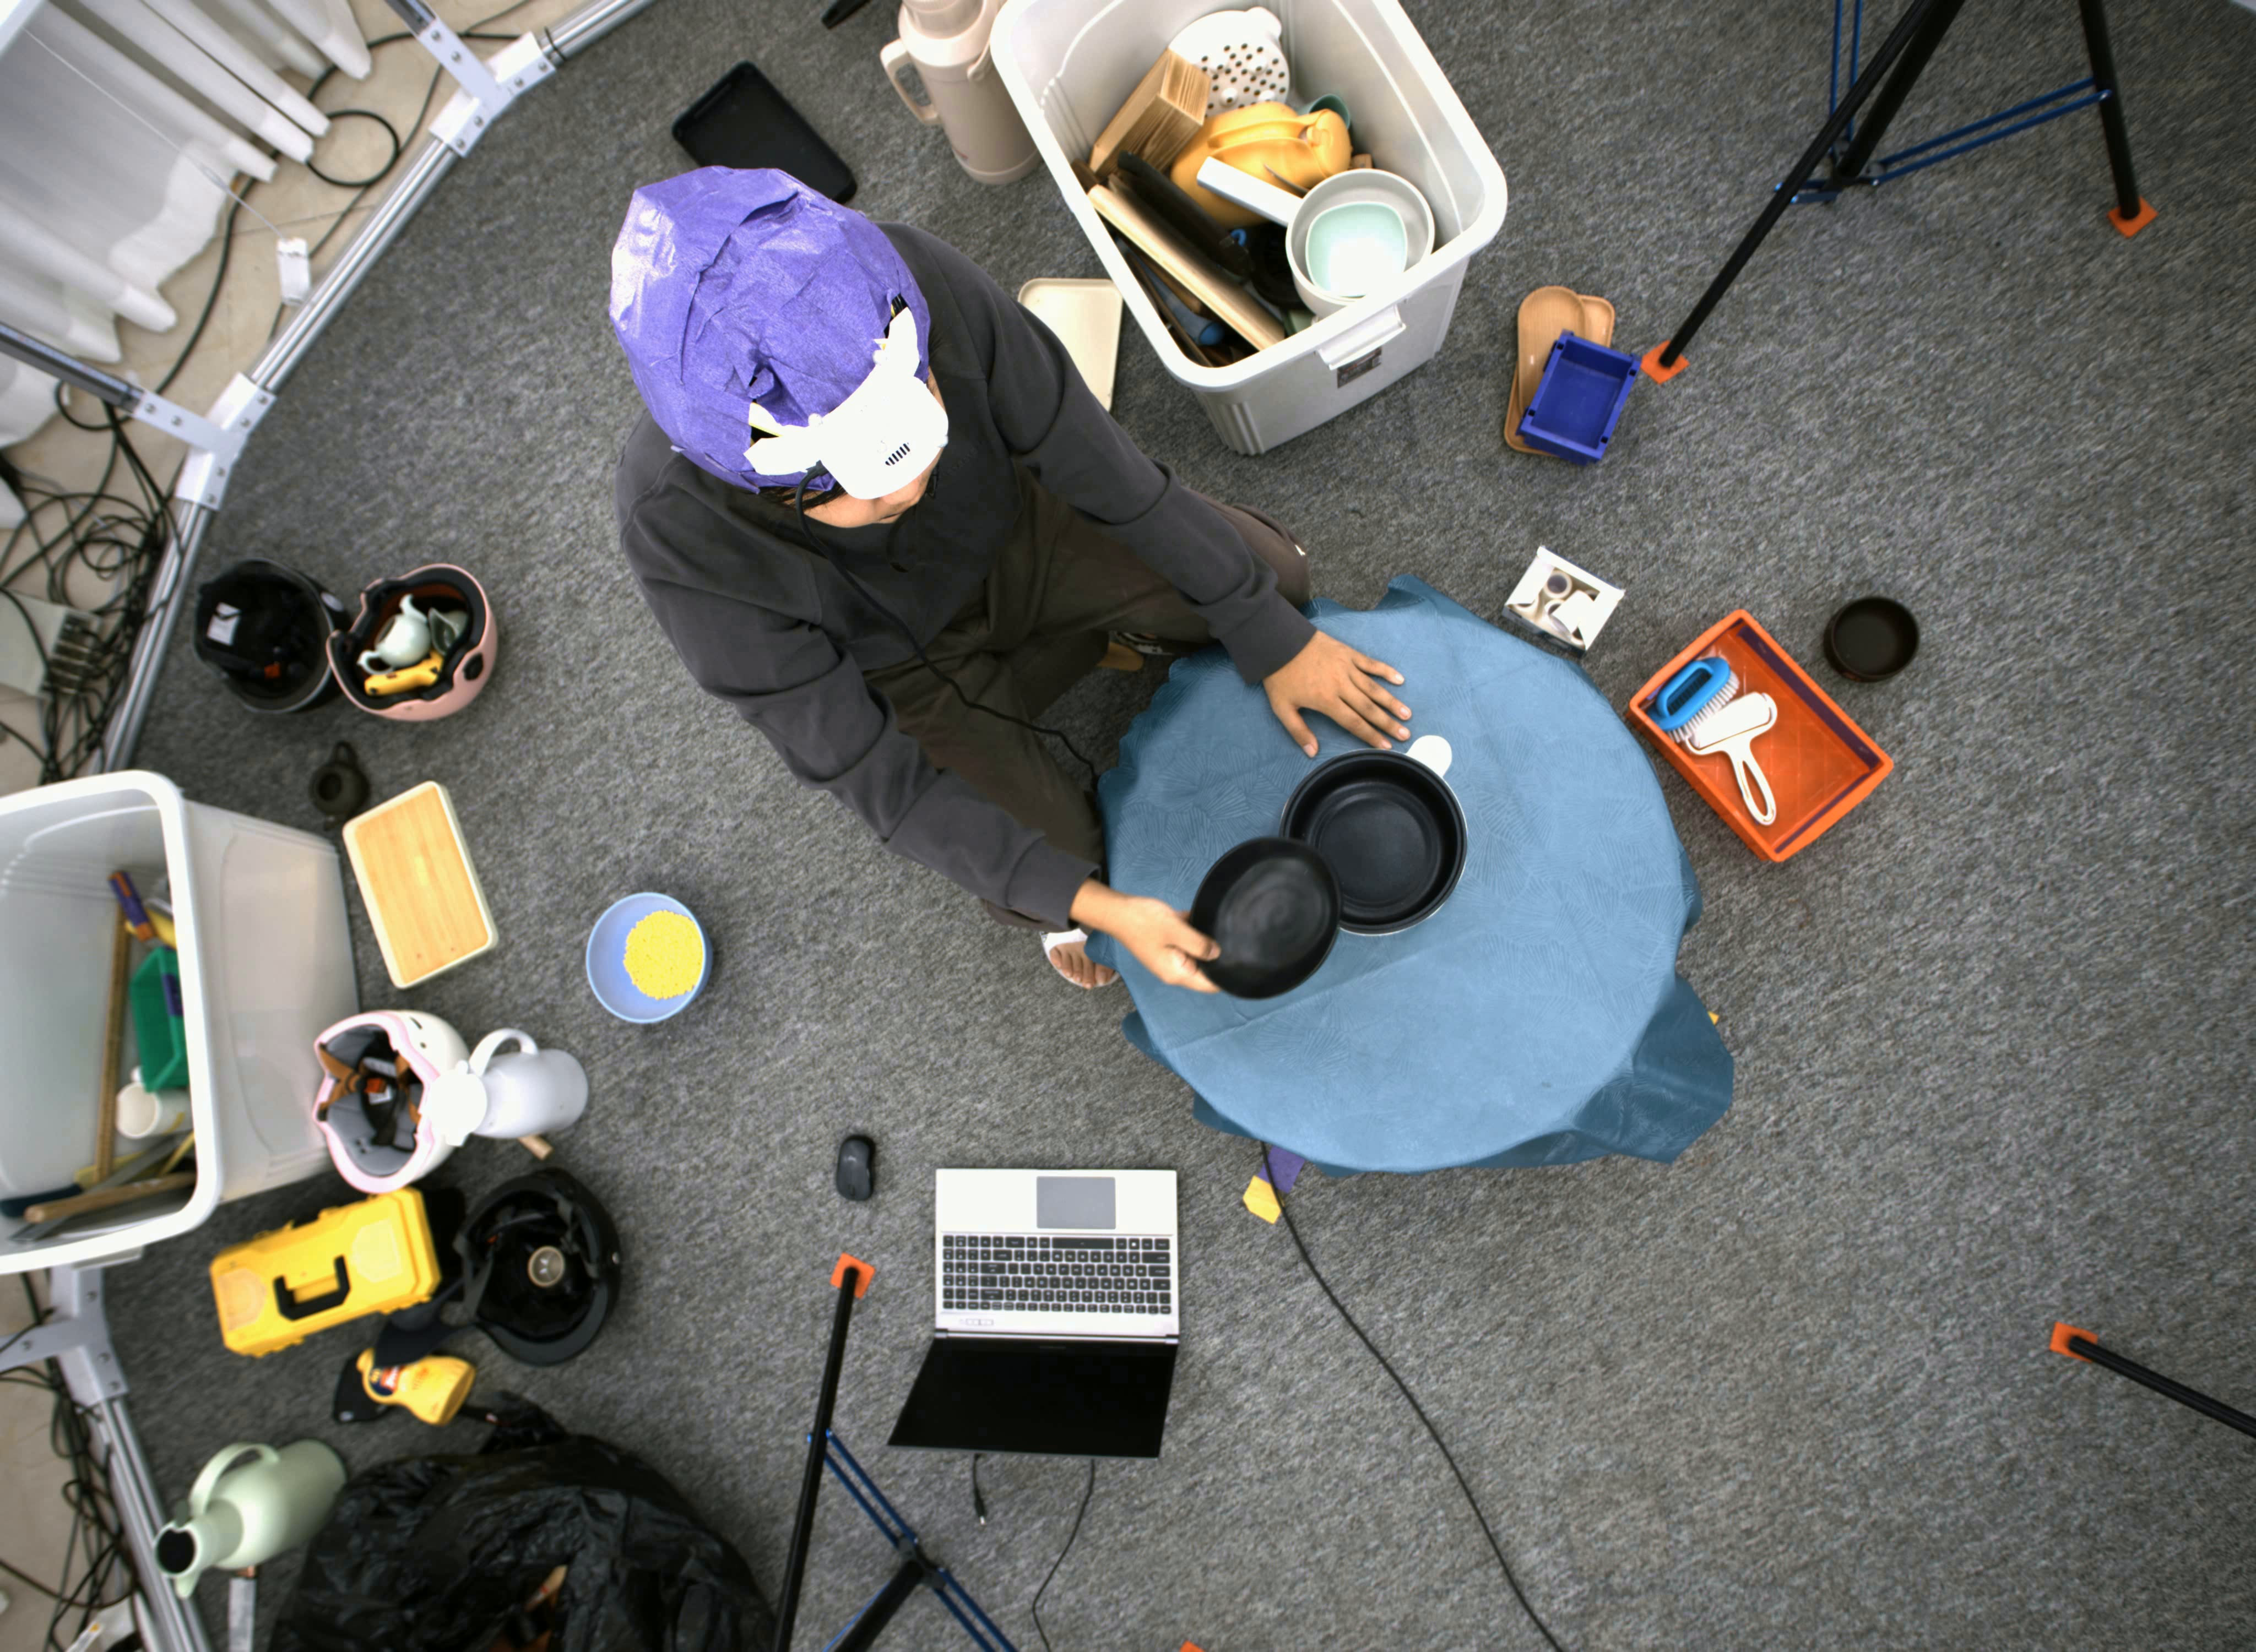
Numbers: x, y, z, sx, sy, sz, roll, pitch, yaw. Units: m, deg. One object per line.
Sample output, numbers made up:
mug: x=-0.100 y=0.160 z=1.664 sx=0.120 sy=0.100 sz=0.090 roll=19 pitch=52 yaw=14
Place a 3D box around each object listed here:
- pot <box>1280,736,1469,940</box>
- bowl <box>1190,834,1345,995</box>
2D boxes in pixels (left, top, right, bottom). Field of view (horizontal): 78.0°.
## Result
pot: x=0.243 y=0.020 z=1.399 sx=0.190 sy=0.143 sz=0.240 roll=33 pitch=91 yaw=8
bowl: x=0.136 y=0.081 z=1.281 sx=0.136 sy=0.066 sz=0.174 roll=51 pitch=119 yaw=17
